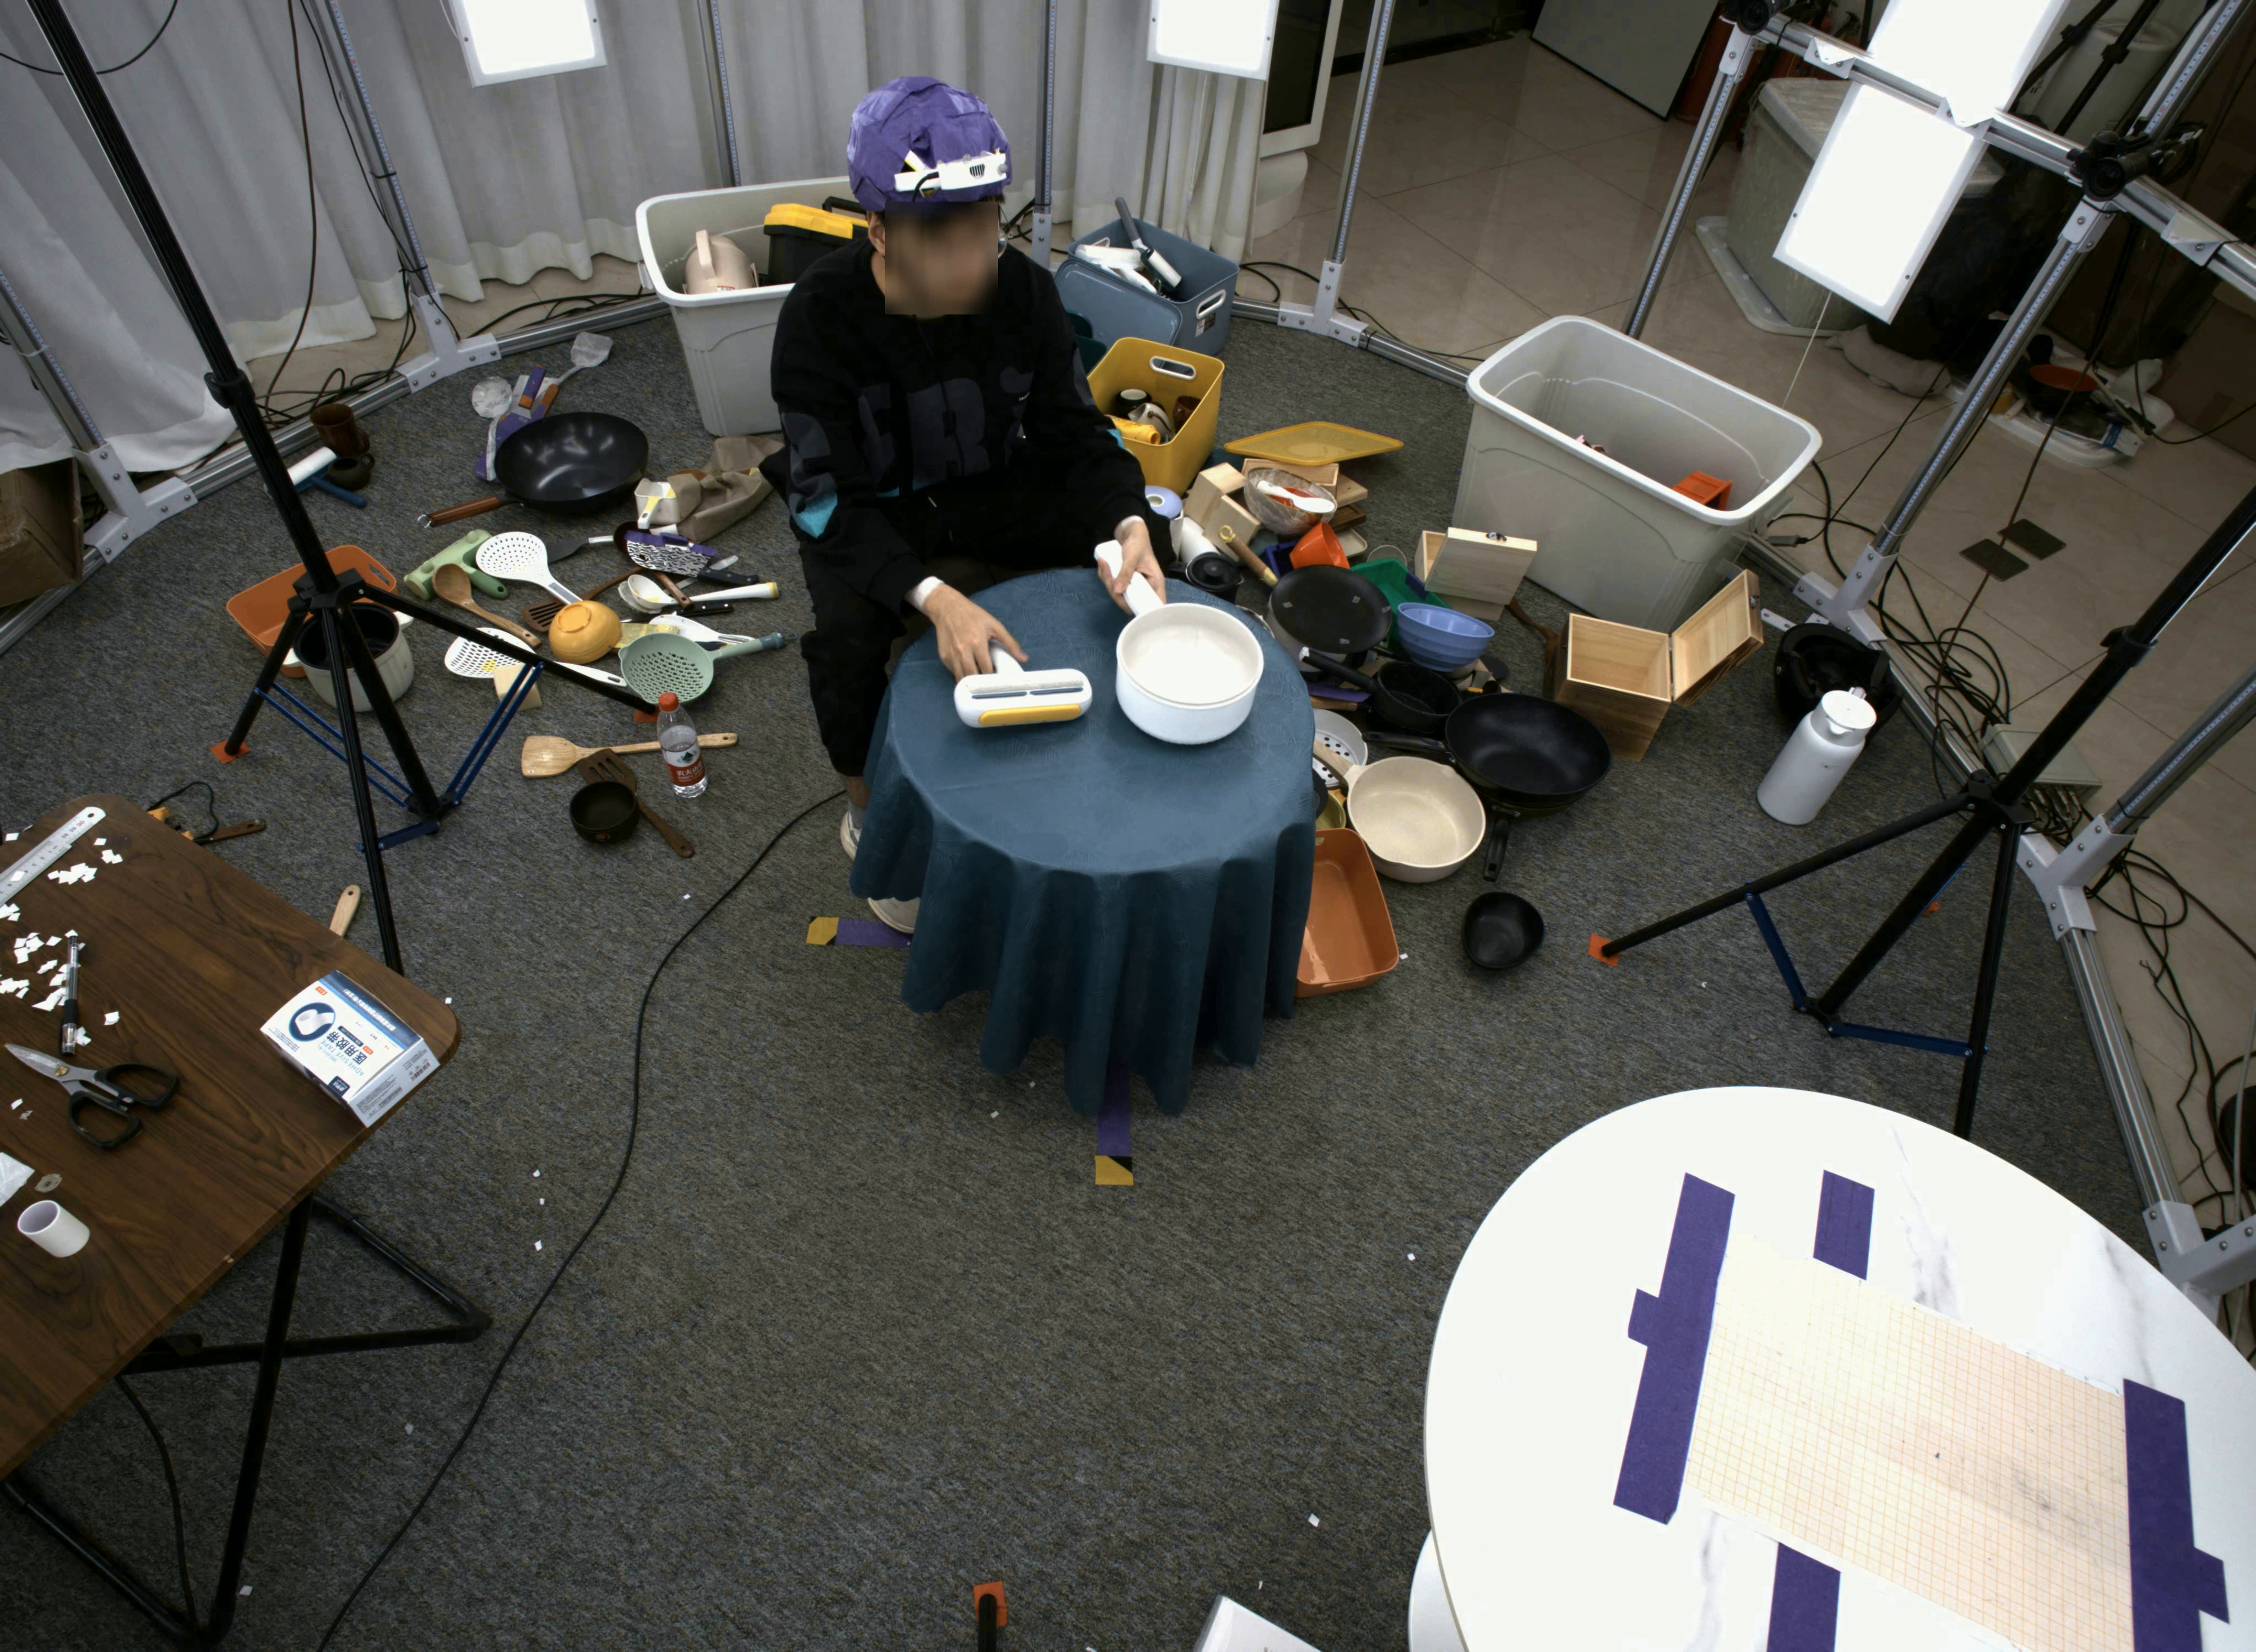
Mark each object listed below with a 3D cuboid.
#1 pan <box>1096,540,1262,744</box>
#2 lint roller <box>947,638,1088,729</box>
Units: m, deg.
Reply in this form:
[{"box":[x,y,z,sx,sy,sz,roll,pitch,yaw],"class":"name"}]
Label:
[{"box":[0.046,-0.263,1.828,0.201,0.099,0.362,-19,54,-19],"class":"pan"},{"box":[-0.167,-0.212,1.798,0.192,0.072,0.197,-7,48,-16],"class":"lint roller"}]
